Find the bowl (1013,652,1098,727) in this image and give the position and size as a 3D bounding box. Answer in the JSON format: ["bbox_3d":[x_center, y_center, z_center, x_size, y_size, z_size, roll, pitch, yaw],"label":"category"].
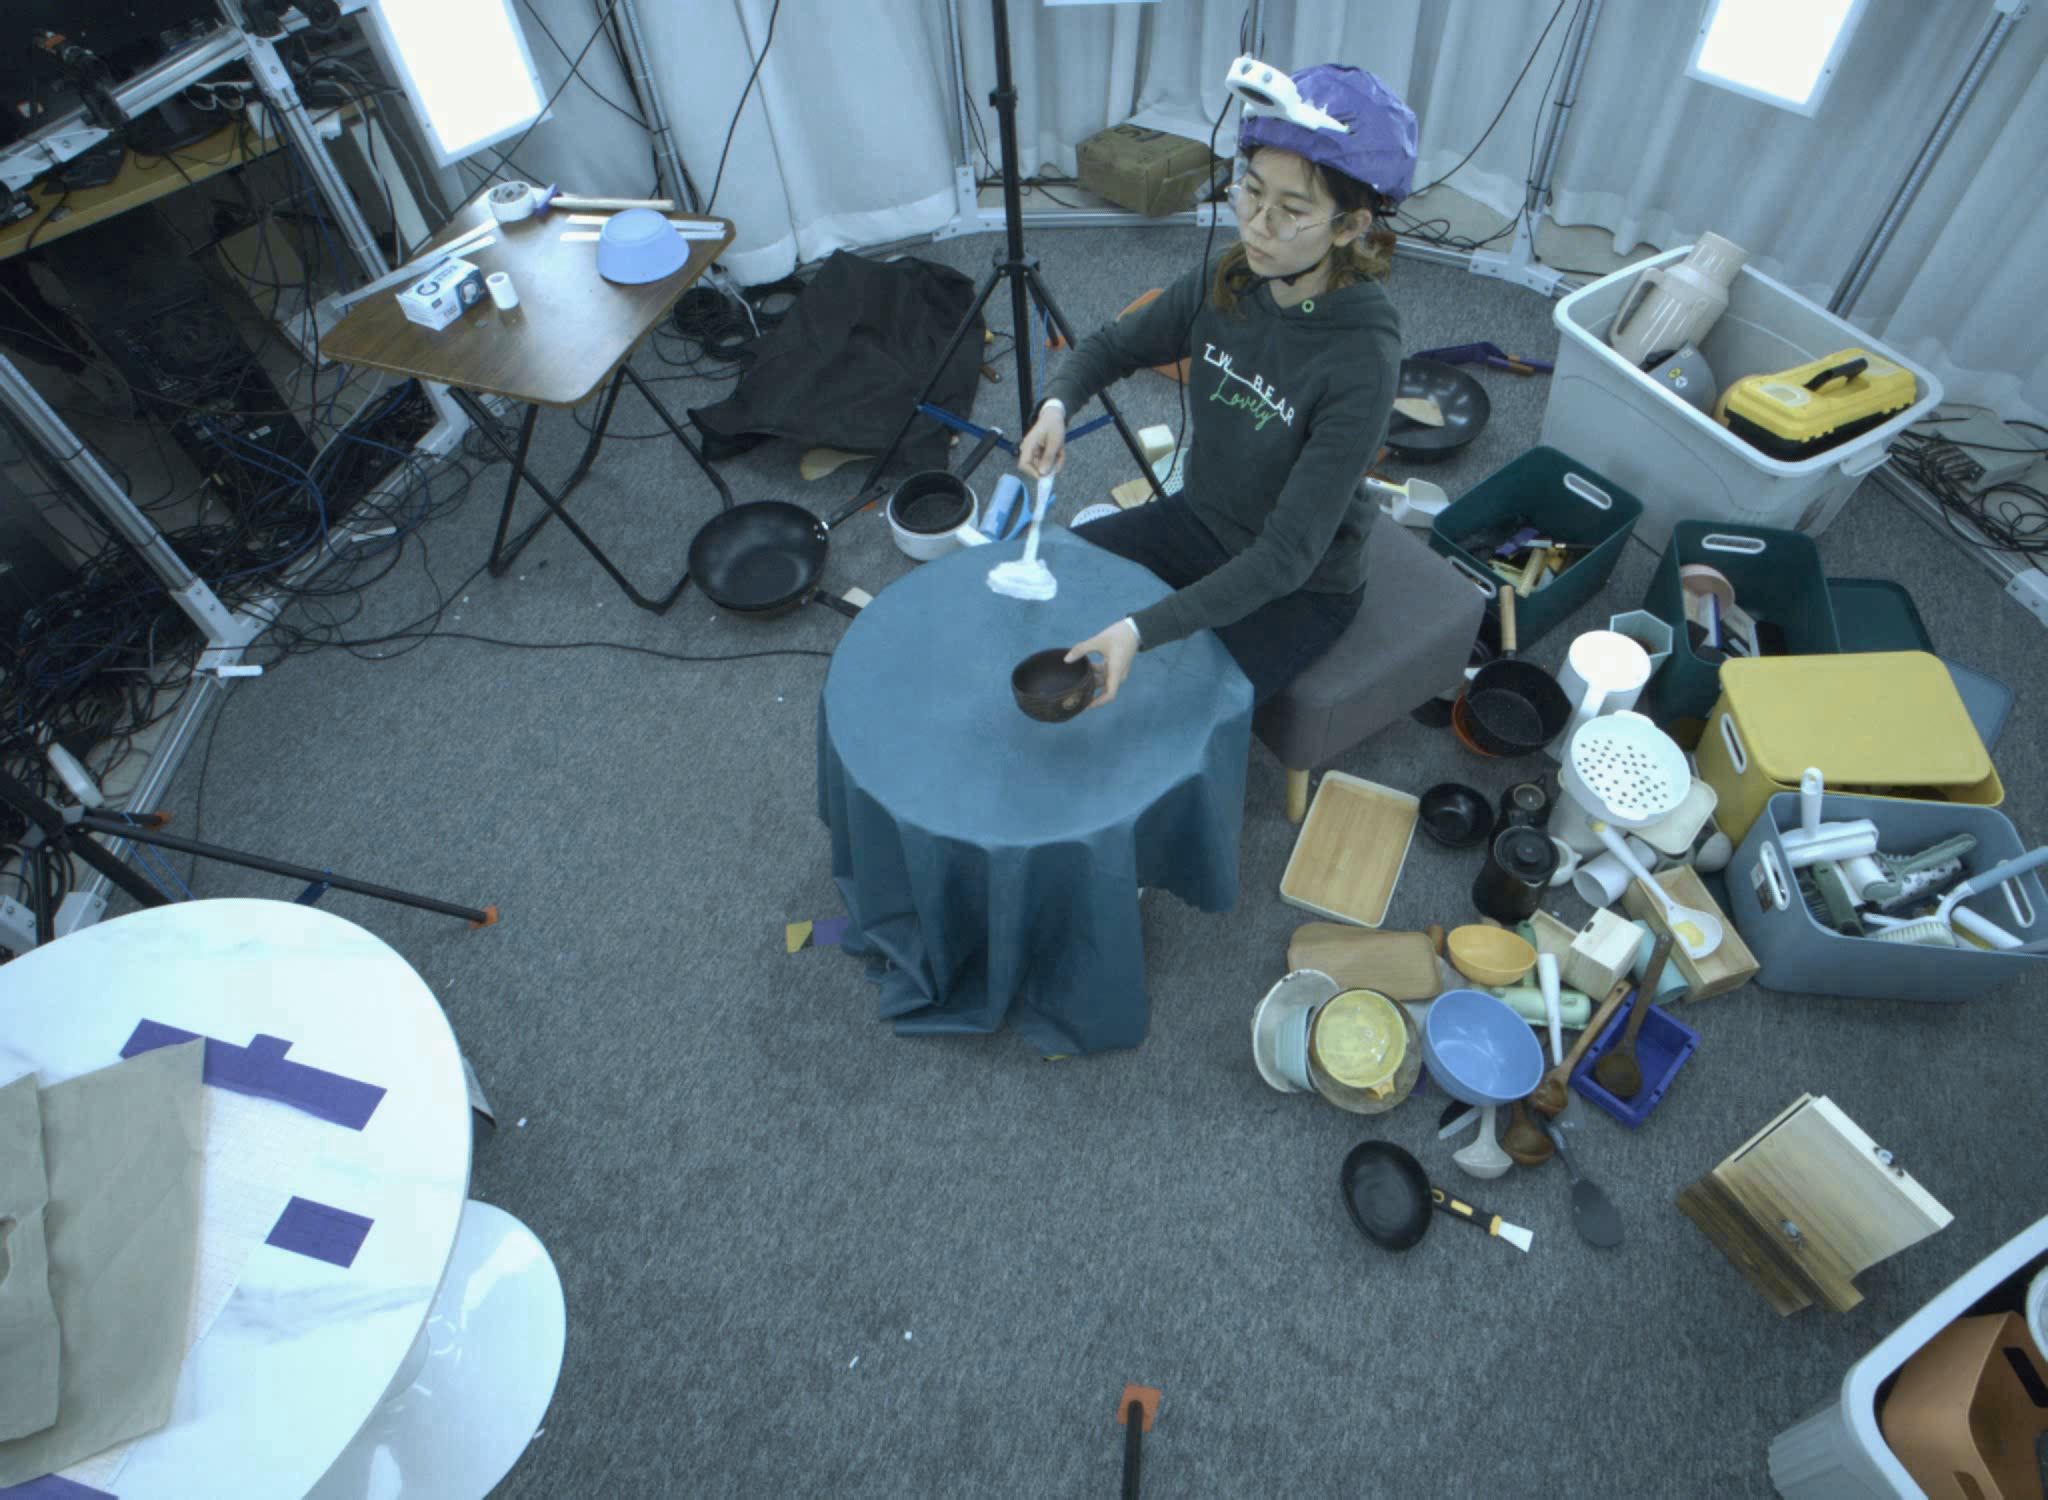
[{"bbox_3d":[0.047,-0.076,1.711,0.117,0.071,0.117,-7,39,7],"label":"bowl"}]

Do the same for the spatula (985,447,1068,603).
[{"bbox_3d":[0.023,-0.344,1.806,0.098,0.045,0.363,12,58,2],"label":"spatula"}]
